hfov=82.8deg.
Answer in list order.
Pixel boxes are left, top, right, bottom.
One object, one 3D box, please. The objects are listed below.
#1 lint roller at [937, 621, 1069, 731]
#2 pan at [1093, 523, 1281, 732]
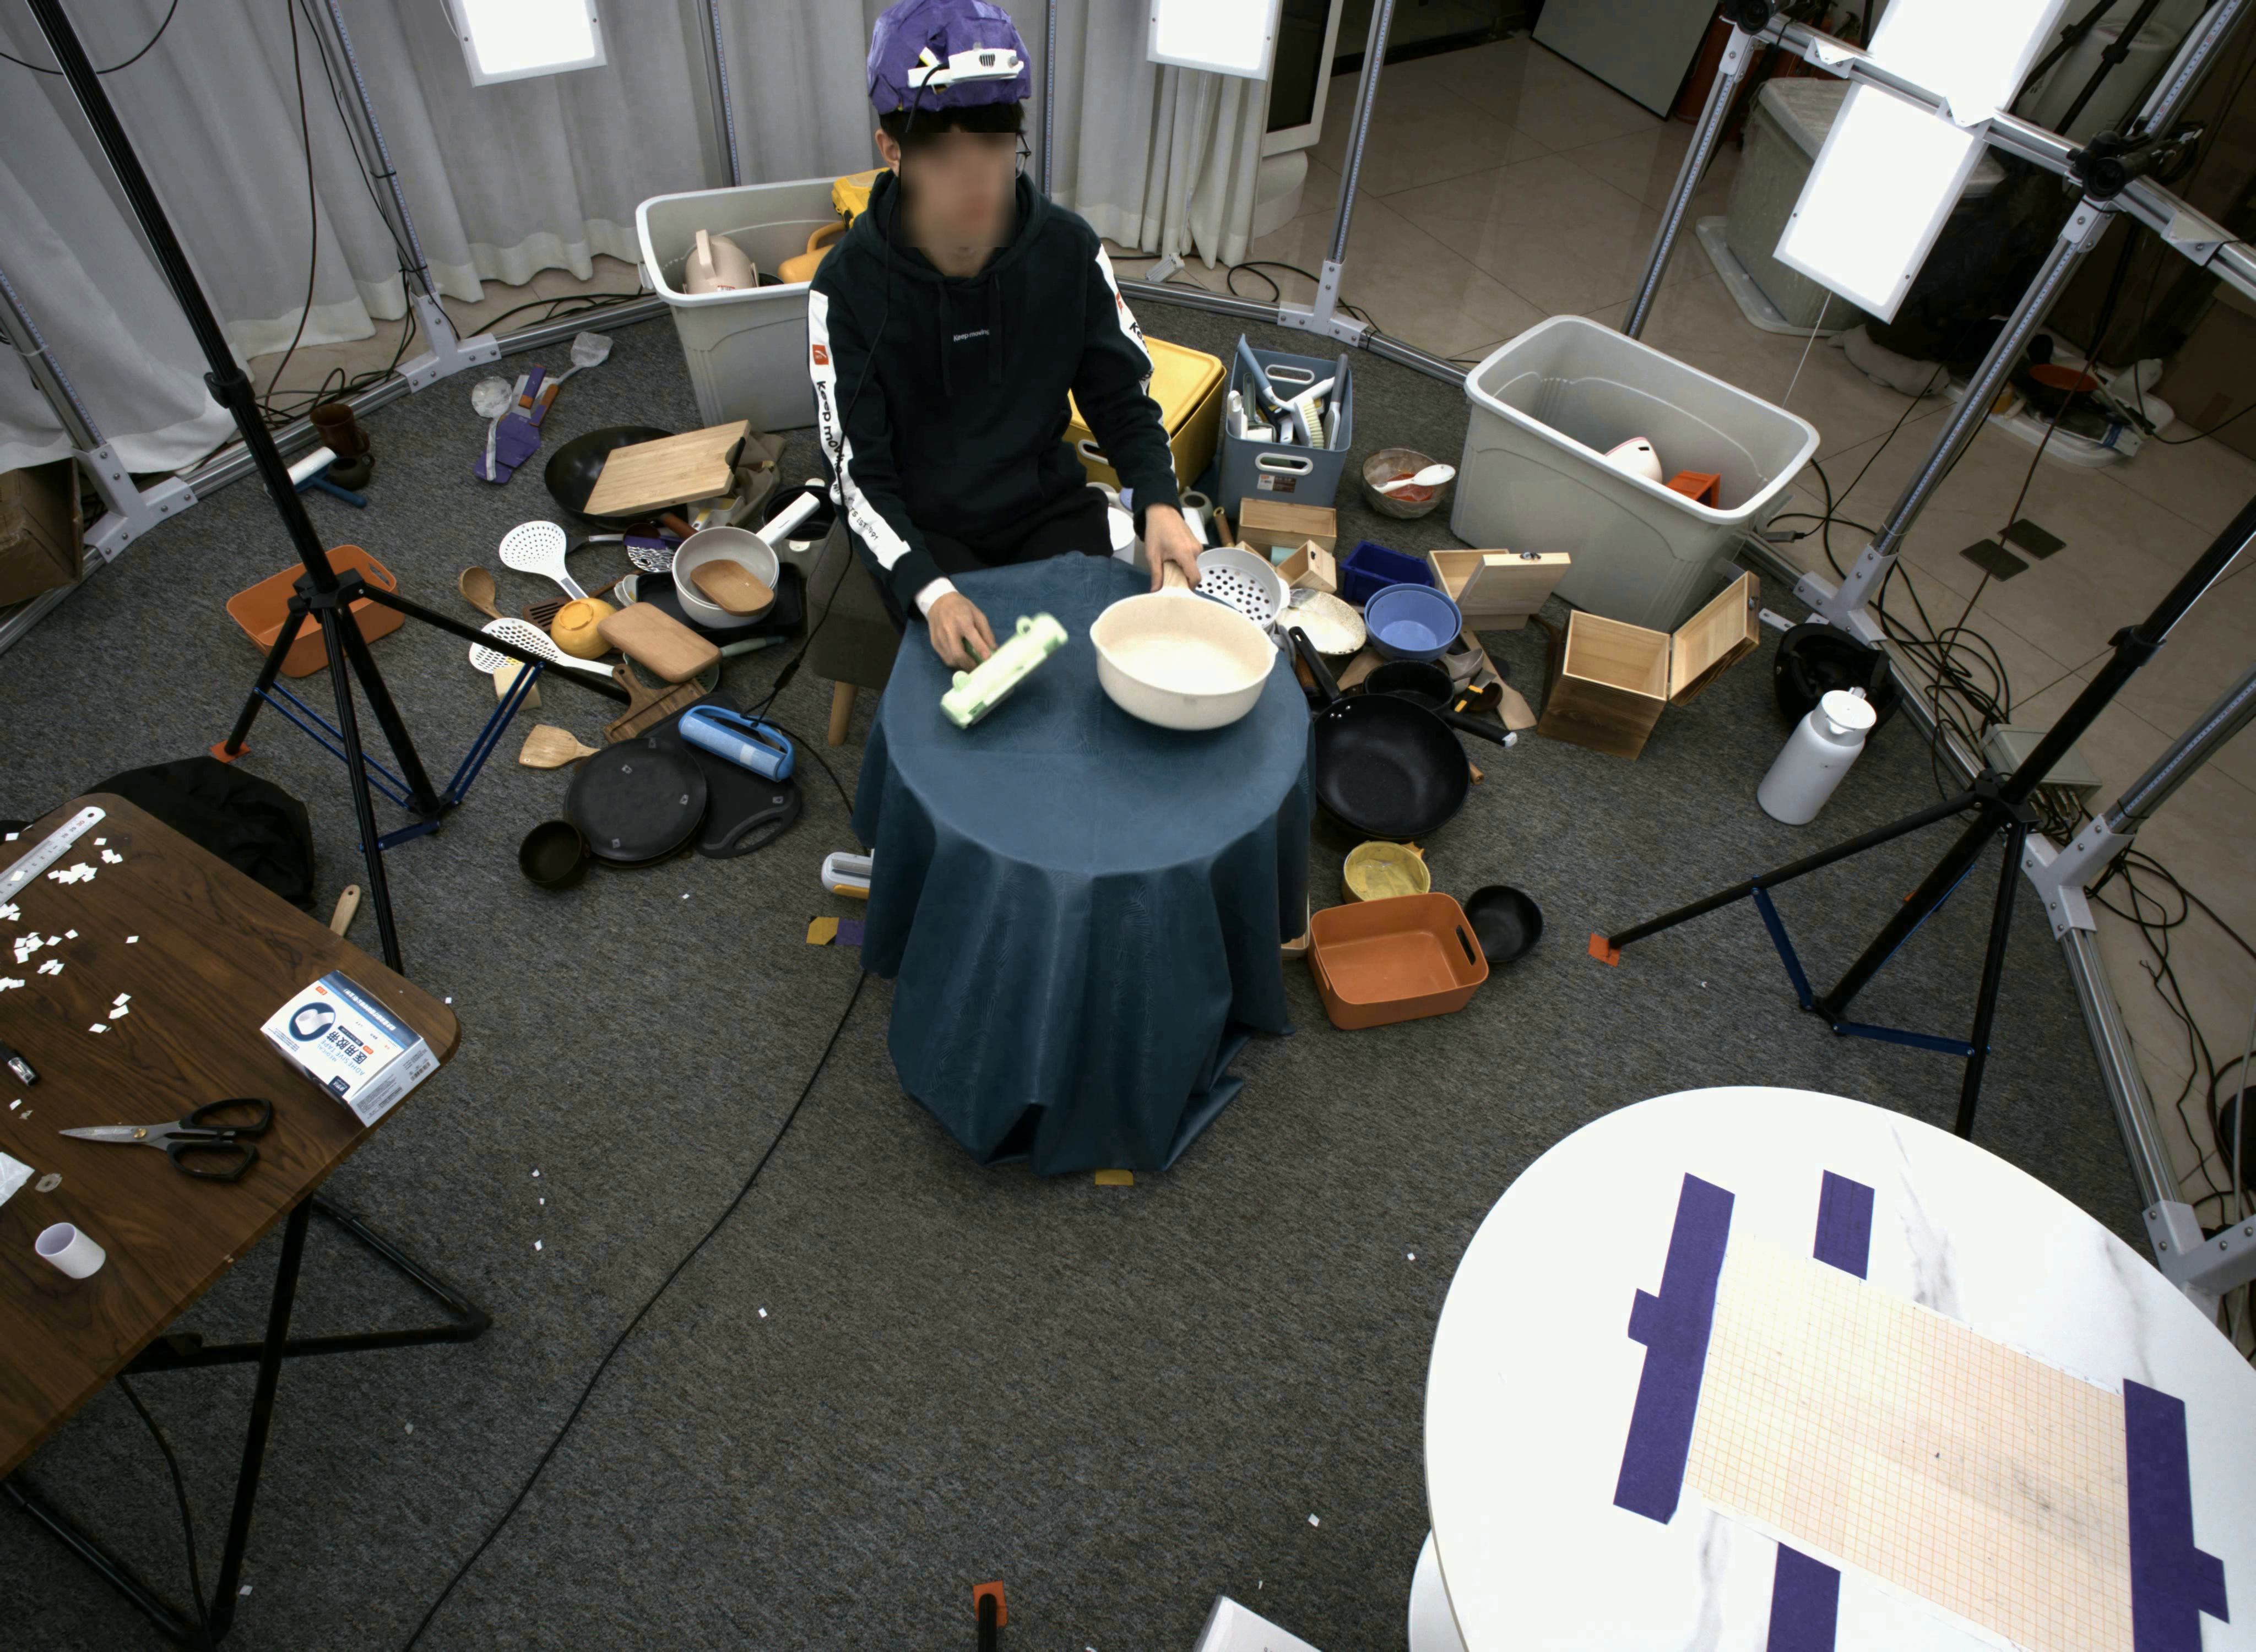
[{"bbox_3d":[-0.209,-0.245,1.798,0.199,0.080,0.186,-39,59,-13],"label":"lint roller"},{"bbox_3d":[0.074,-0.289,1.860,0.263,0.099,0.446,1,40,-6],"label":"pan"}]
